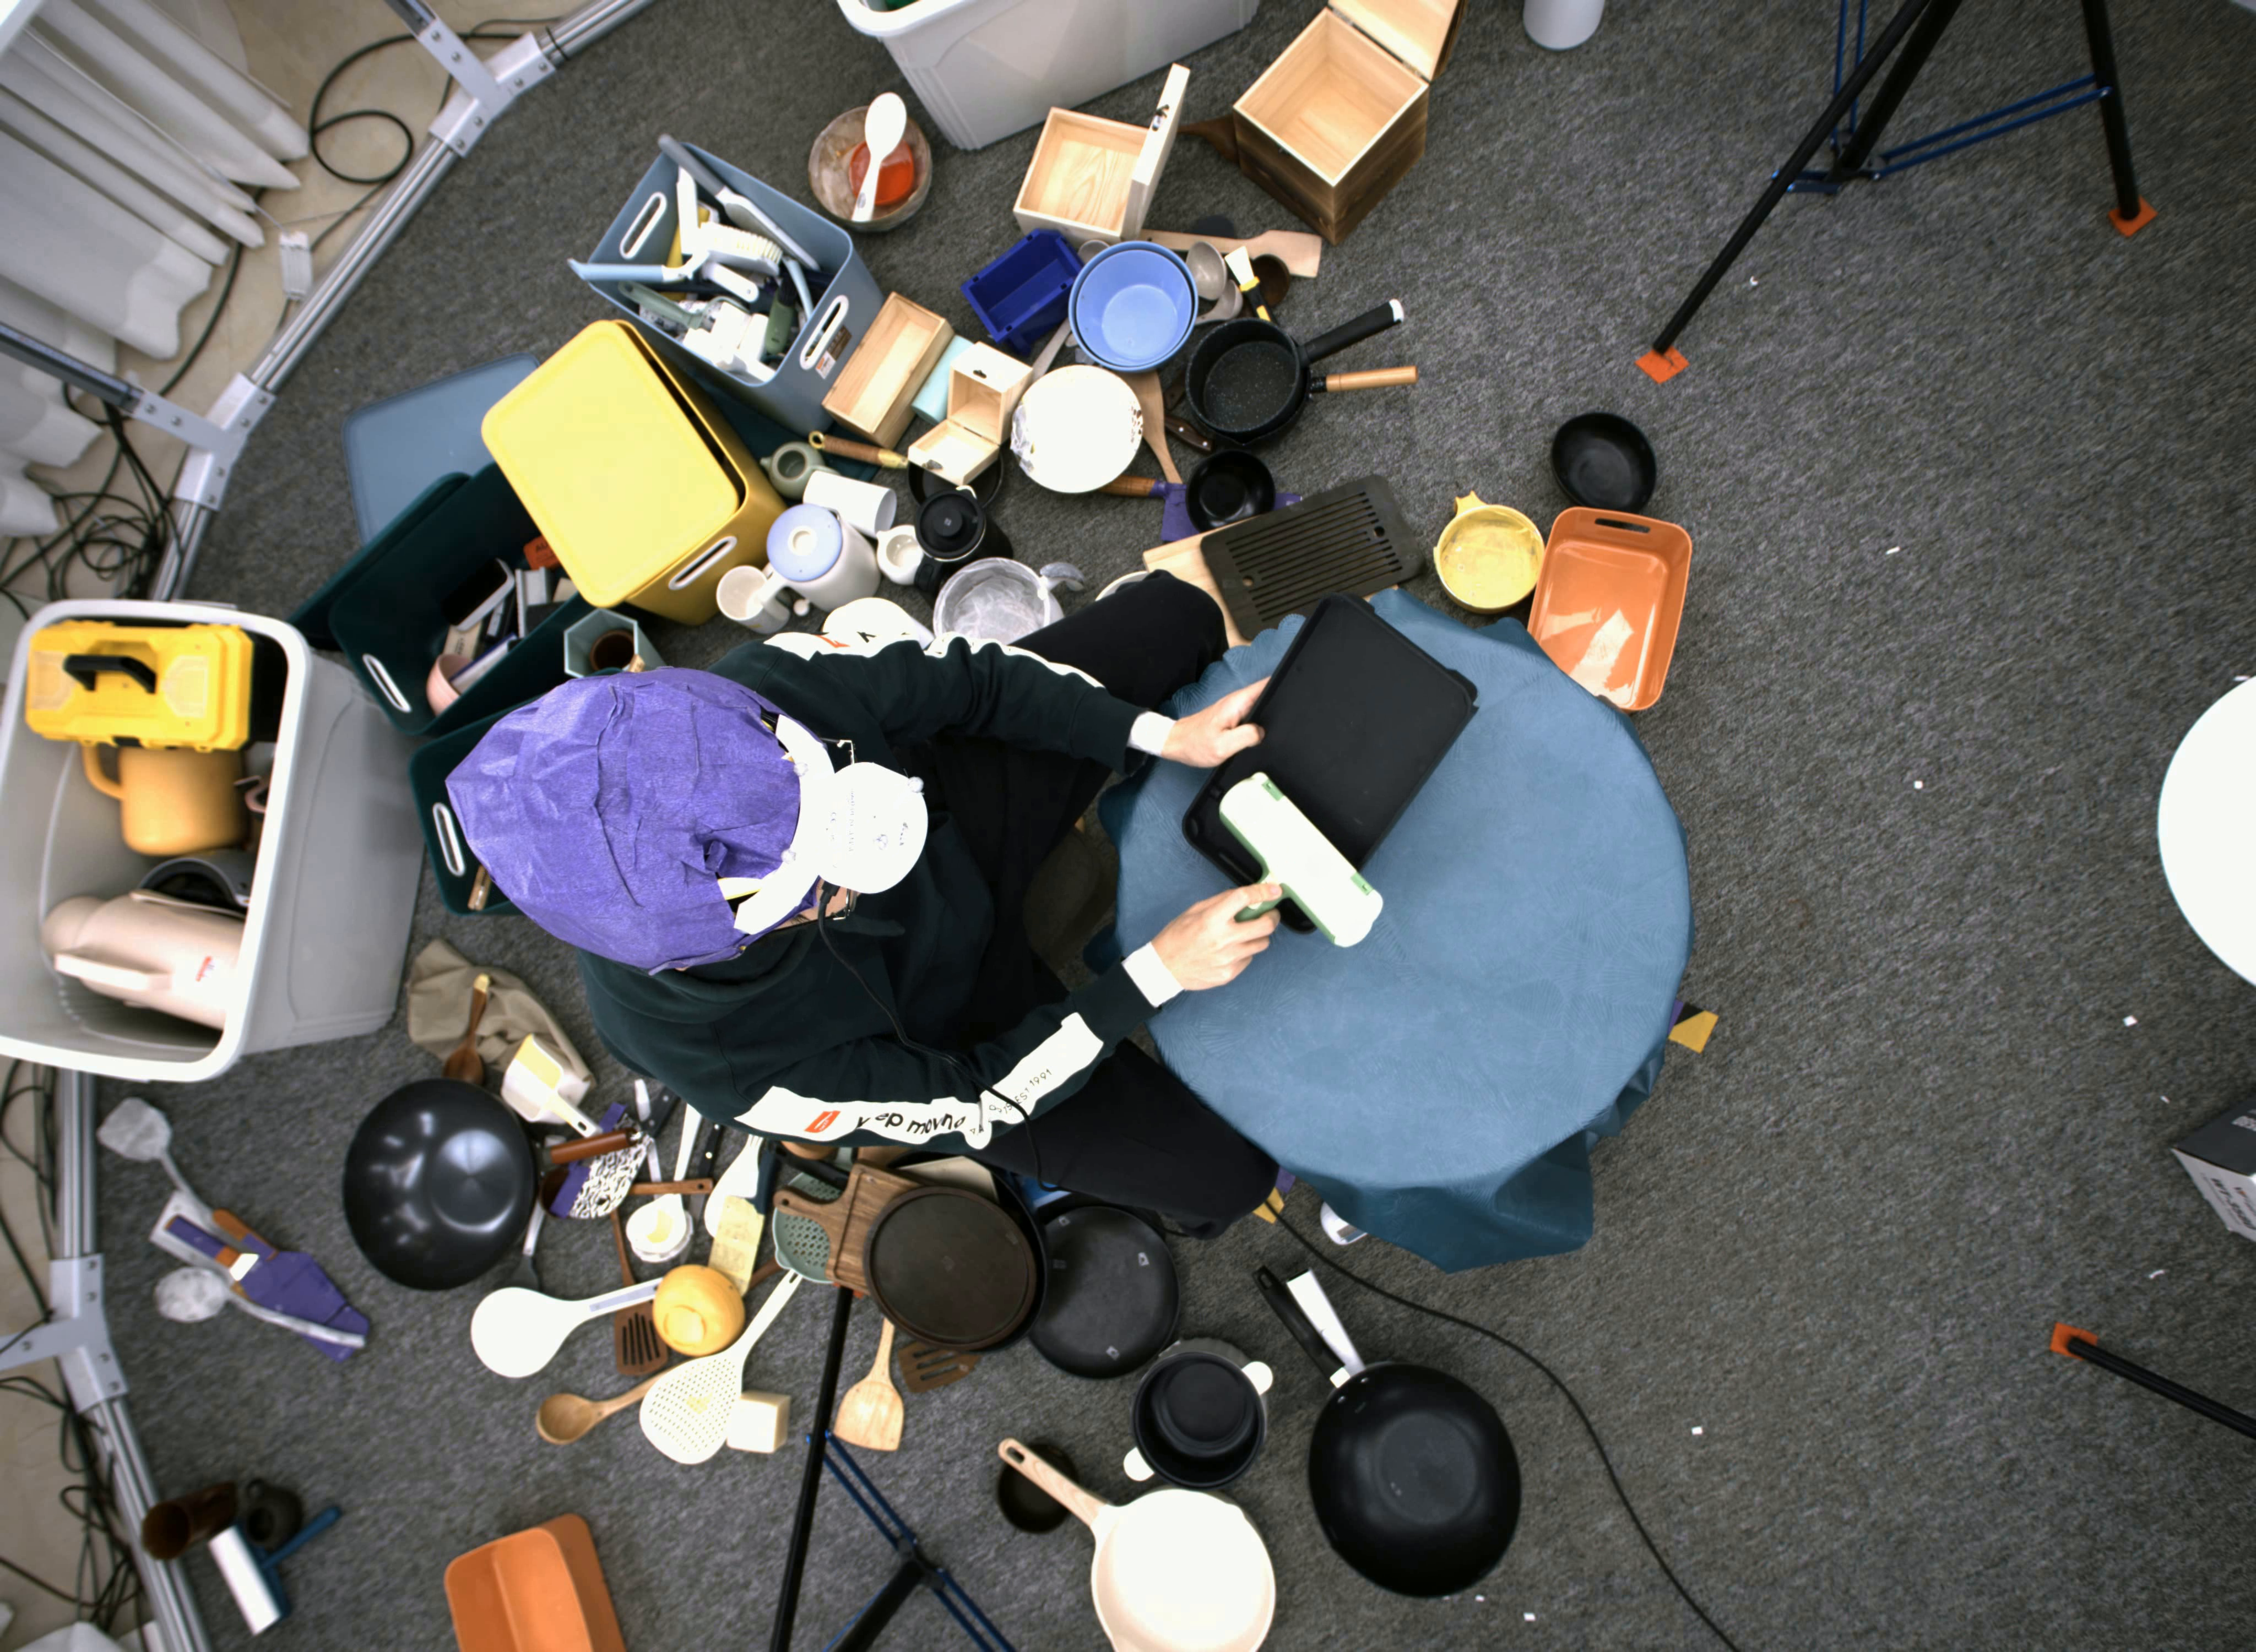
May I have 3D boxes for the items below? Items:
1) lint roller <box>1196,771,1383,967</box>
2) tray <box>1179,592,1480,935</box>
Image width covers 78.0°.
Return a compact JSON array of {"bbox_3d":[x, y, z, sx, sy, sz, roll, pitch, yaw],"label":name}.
[{"bbox_3d":[0.125,0.070,1.370,0.185,0.082,0.196,-45,65,10],"label":"lint roller"},{"bbox_3d":[0.191,-0.059,1.357,0.183,0.036,0.325,41,124,15],"label":"tray"}]
